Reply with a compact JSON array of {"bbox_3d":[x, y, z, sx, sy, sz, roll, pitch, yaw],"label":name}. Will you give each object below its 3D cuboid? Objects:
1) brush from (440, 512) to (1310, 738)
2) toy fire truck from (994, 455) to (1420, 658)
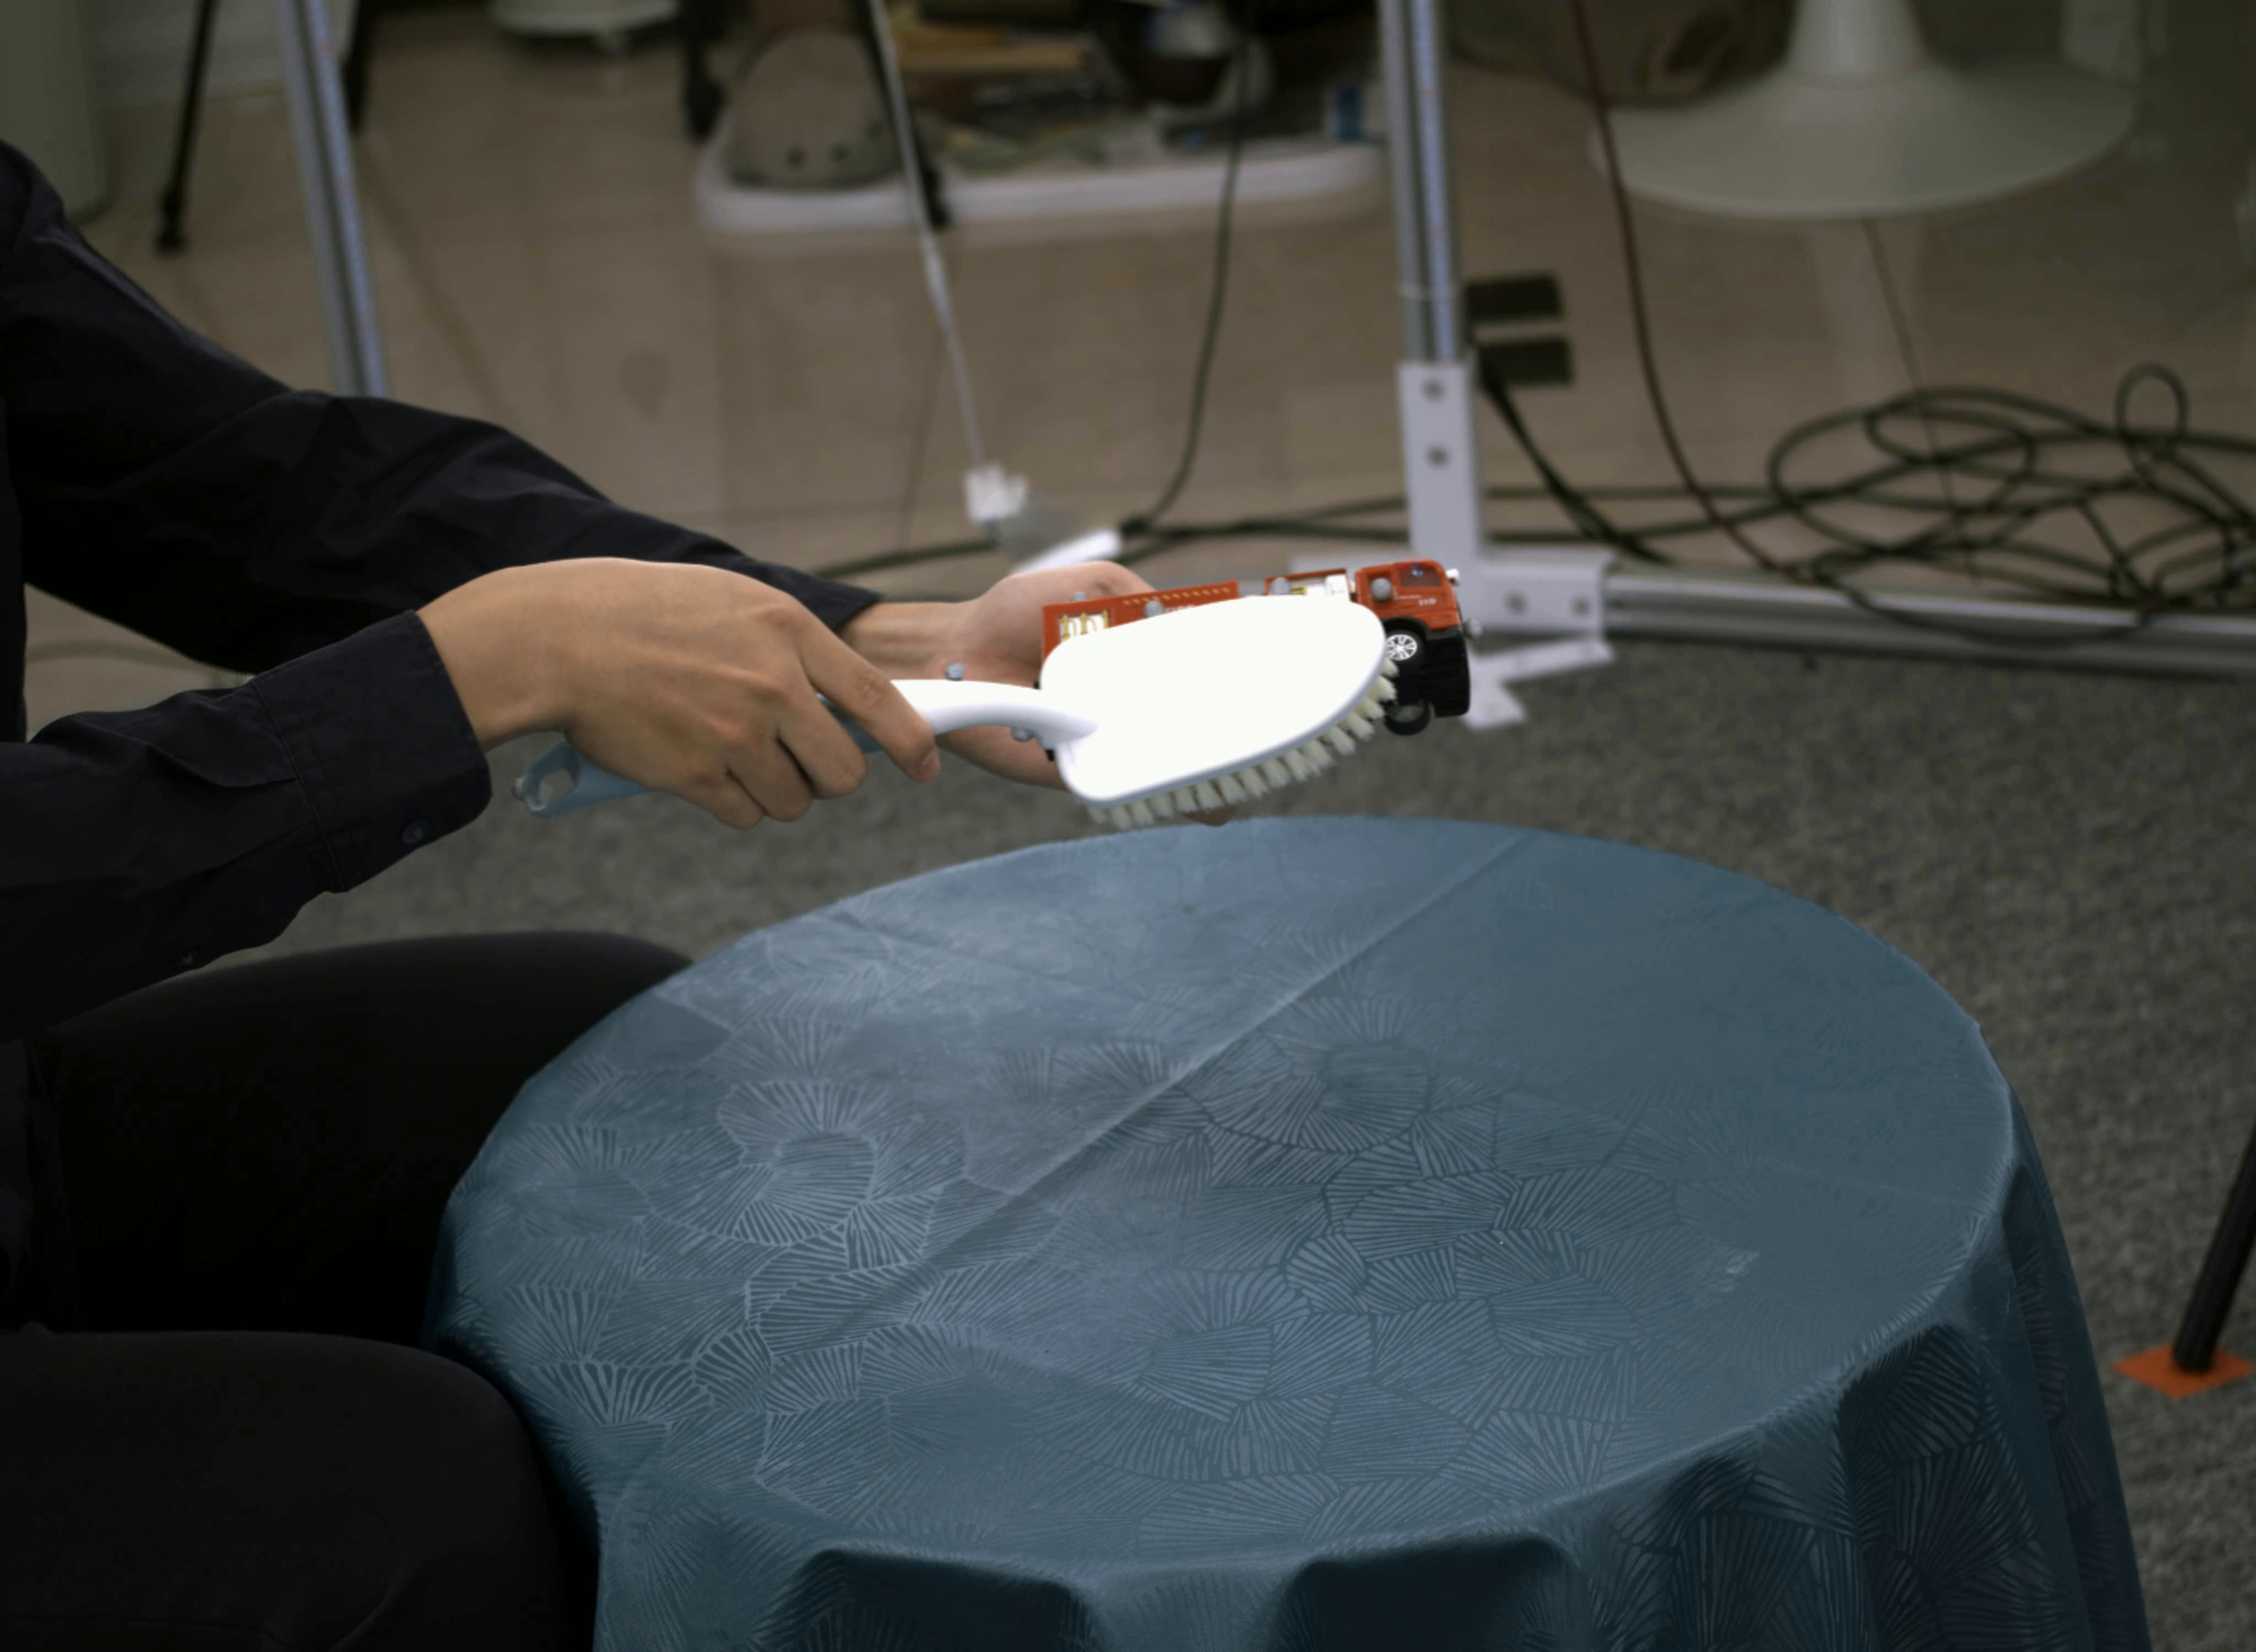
[{"bbox_3d":[-0.092,-0.065,2.093,0.325,0.086,0.082,-10,33,-7],"label":"brush"},{"bbox_3d":[0.029,-0.100,2.153,0.167,0.055,0.069,-7,49,1],"label":"toy fire truck"}]
